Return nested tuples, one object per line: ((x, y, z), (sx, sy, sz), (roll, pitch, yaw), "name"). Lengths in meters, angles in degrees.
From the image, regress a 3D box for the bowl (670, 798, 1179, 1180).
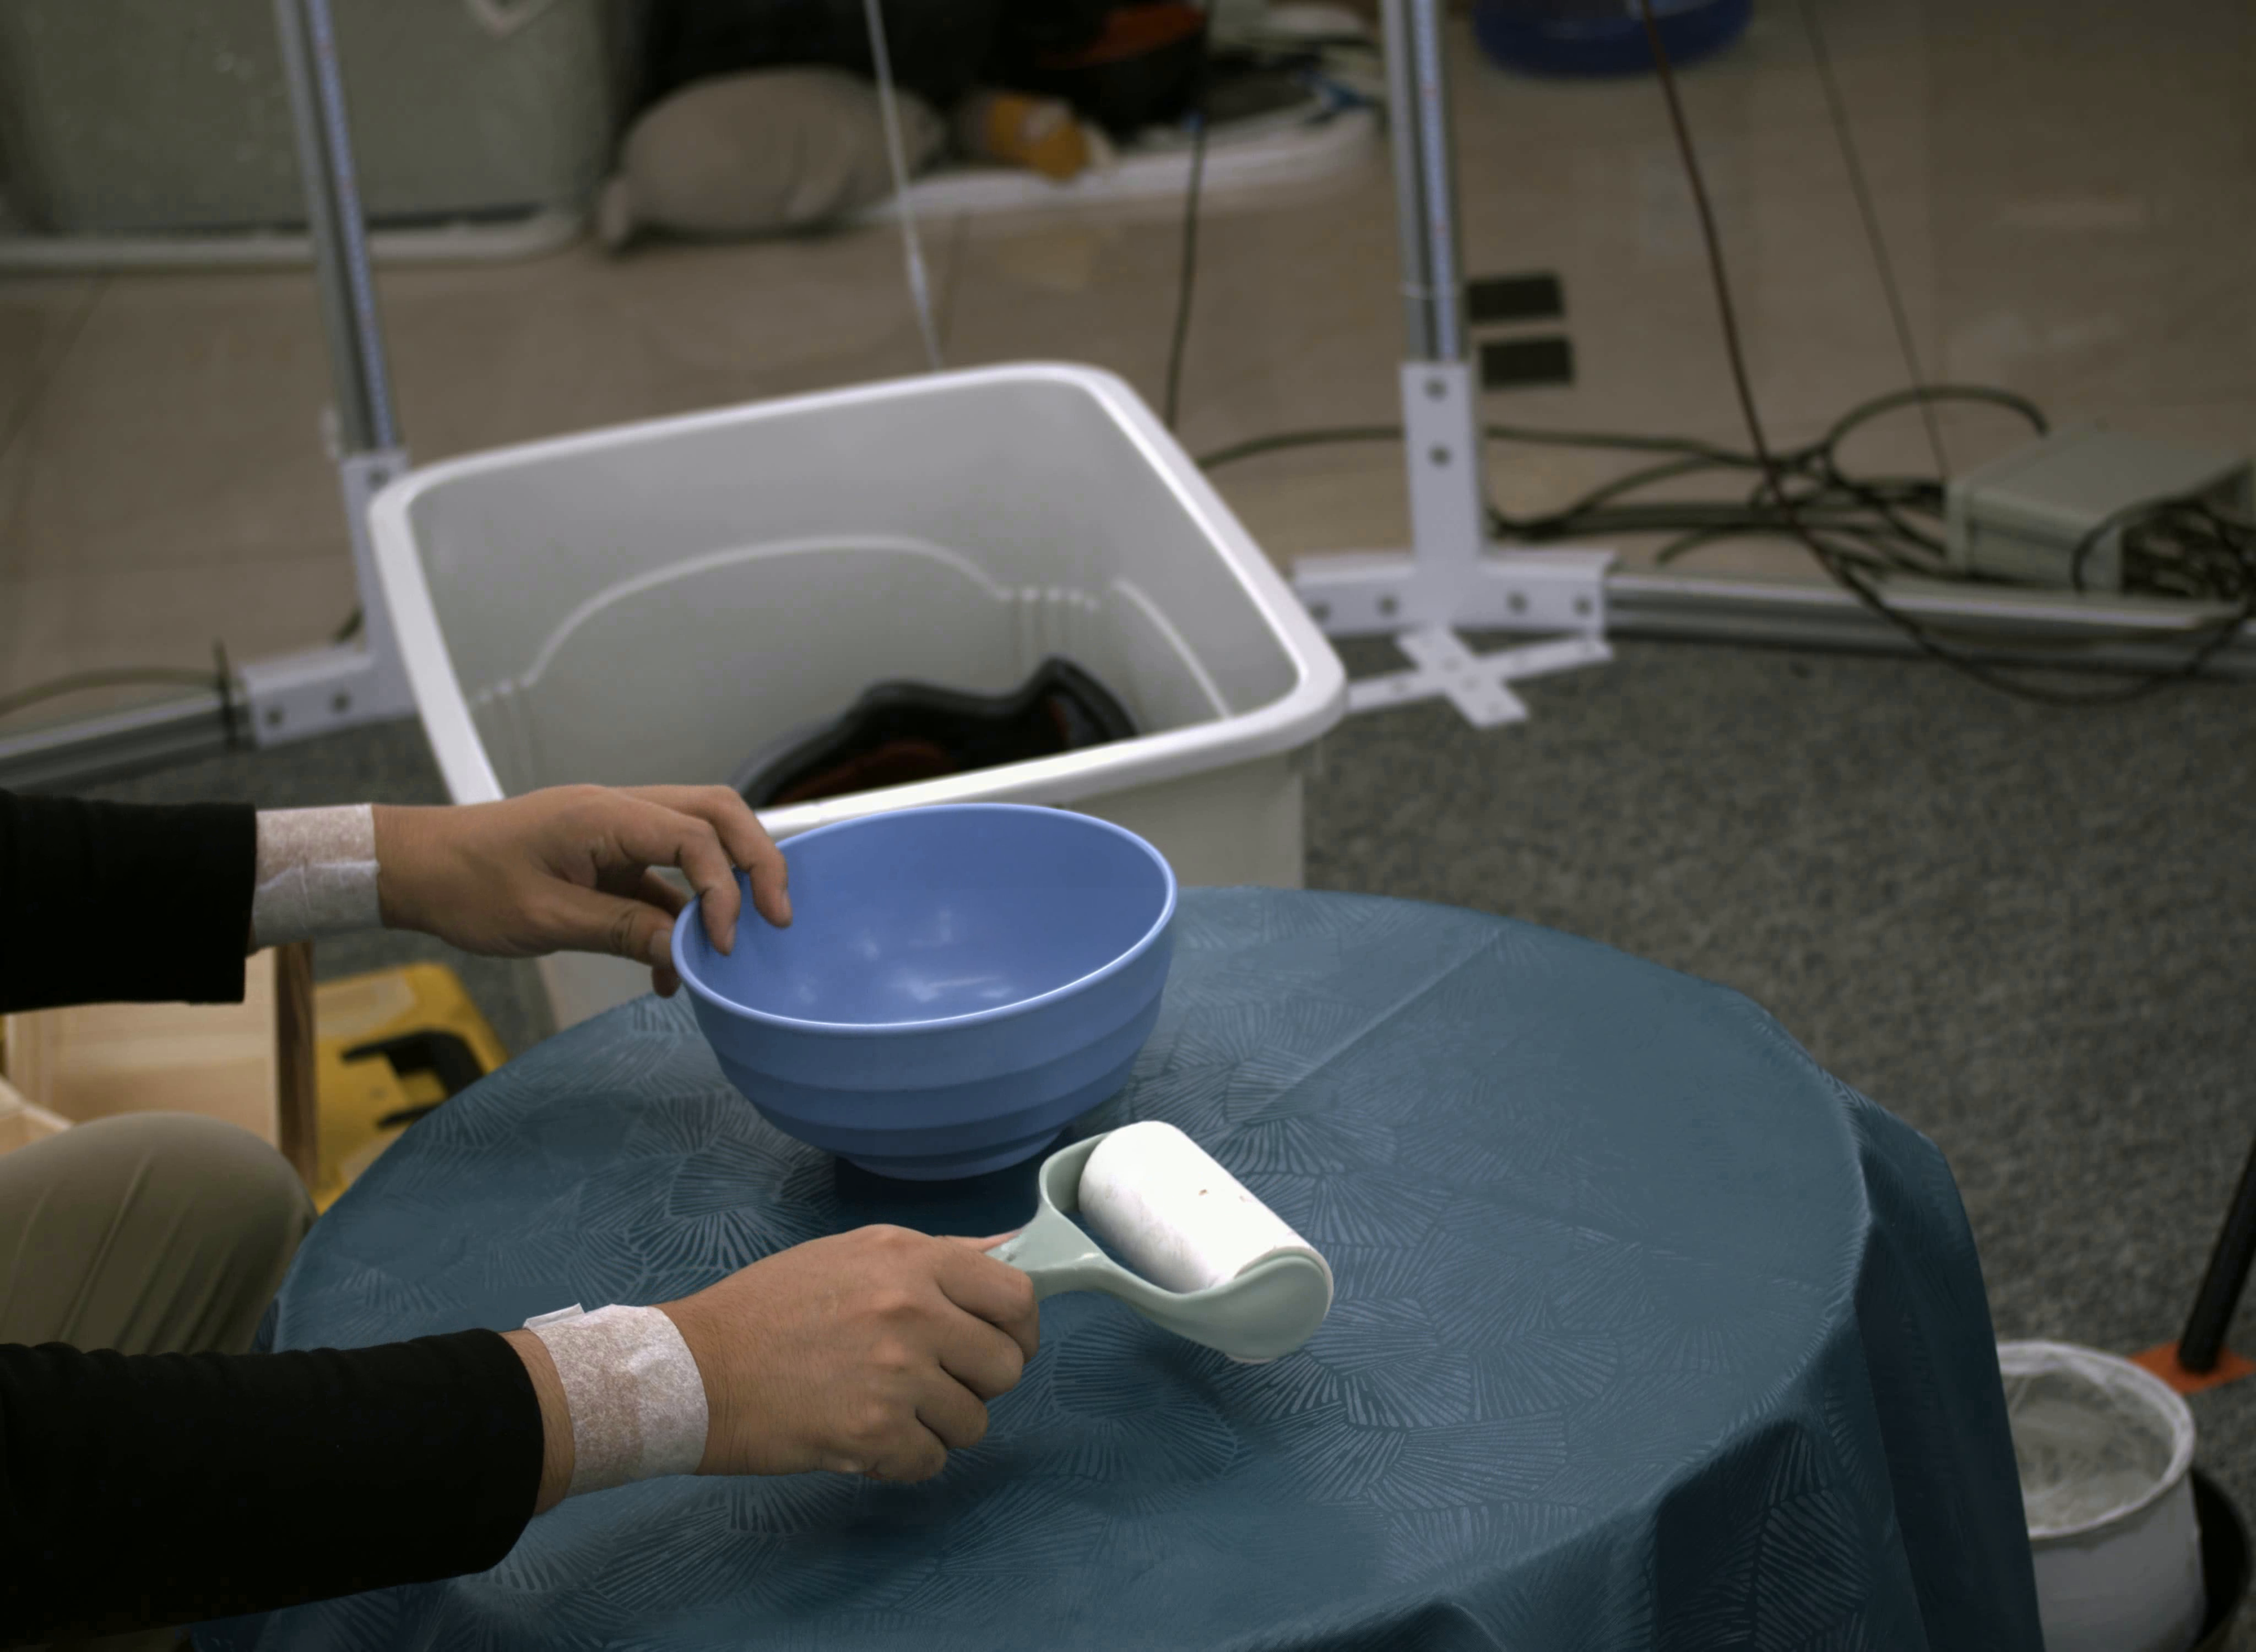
((-0.074, 0.074, 2.191), (0.196, 0.097, 0.193), (-5, 26, 2), "bowl")

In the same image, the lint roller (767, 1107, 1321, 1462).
((-0.041, 0.165, 1.982), (0.196, 0.049, 0.115), (-20, 33, -23), "lint roller")
